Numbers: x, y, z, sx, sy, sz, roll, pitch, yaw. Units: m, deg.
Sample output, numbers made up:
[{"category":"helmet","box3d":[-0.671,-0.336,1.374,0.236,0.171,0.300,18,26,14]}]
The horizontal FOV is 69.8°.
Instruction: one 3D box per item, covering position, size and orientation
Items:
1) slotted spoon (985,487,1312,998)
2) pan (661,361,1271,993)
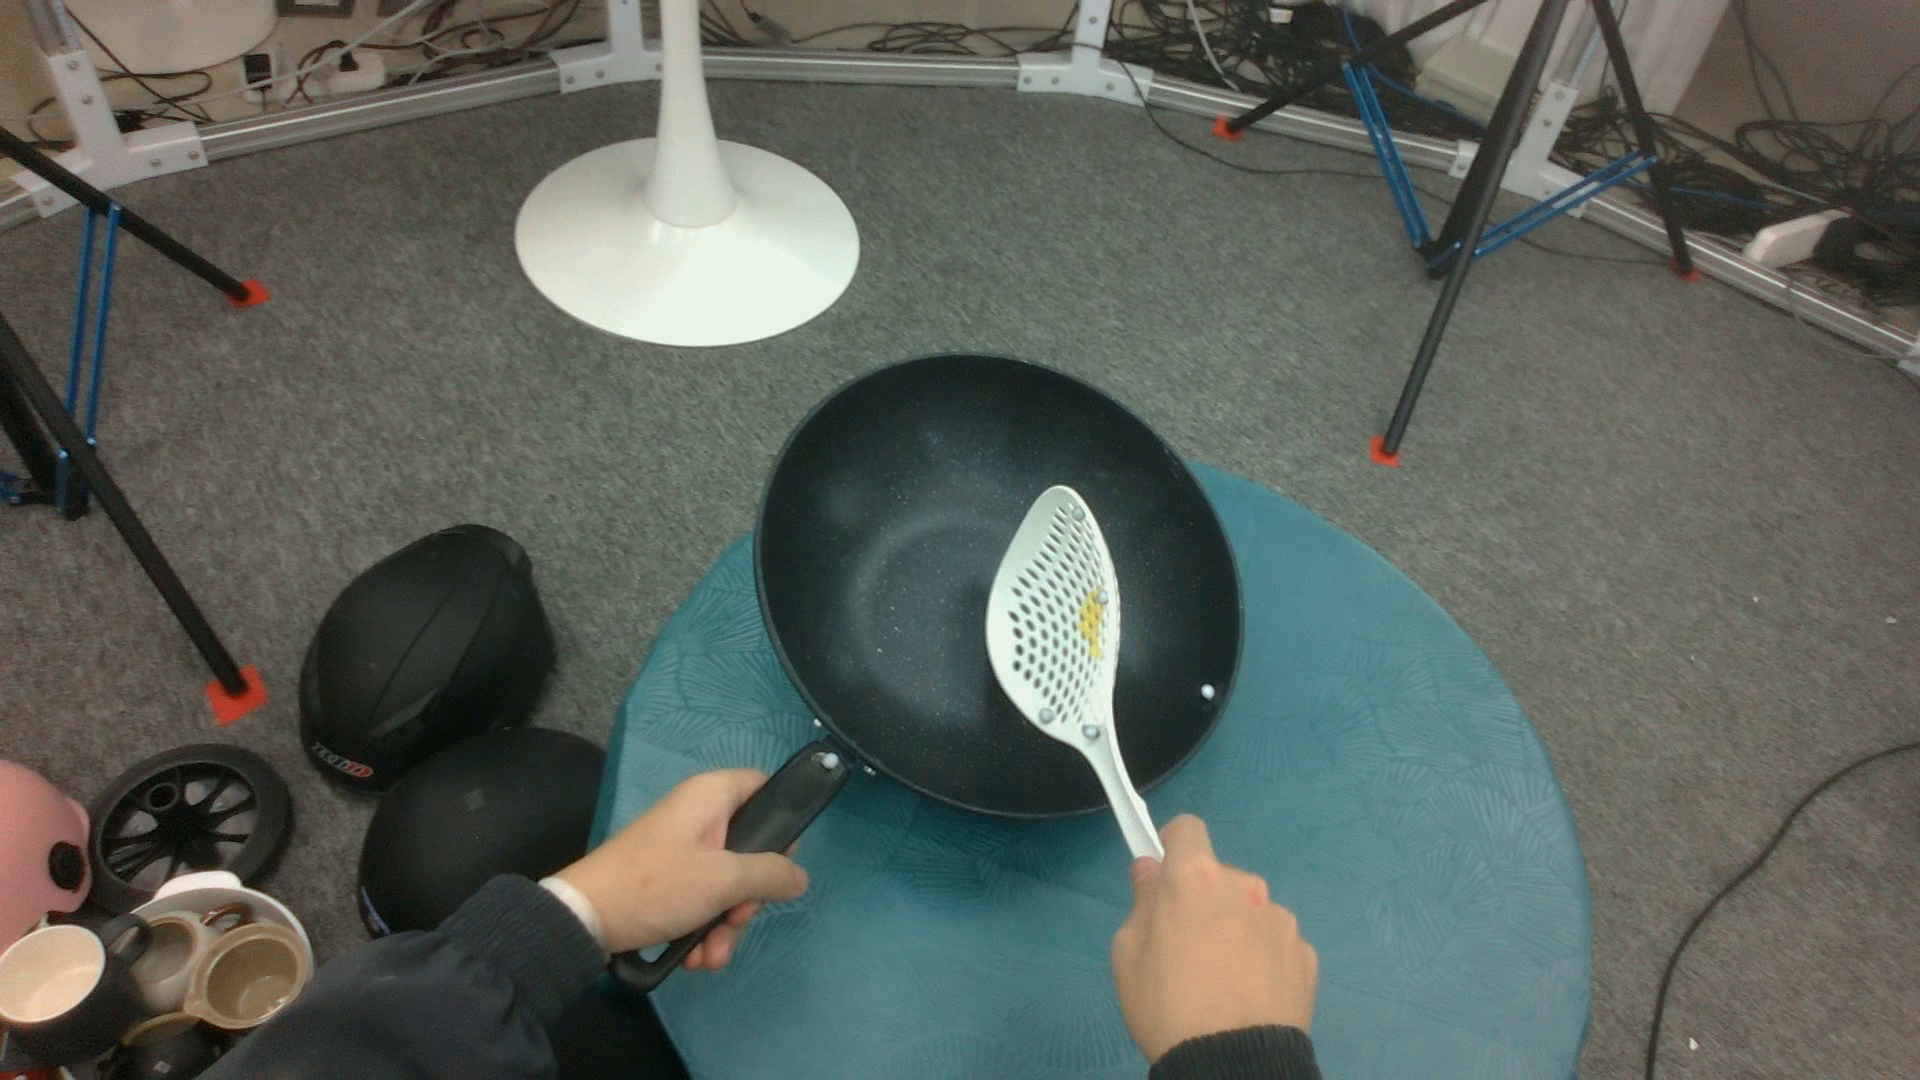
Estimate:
[{"category":"slotted spoon","box3d":[0.097,0.108,0.772,0.050,0.136,0.349,12,34,-26]},{"category":"pan","box3d":[-0.010,0.084,0.823,0.310,0.111,0.479,37,59,8]}]
